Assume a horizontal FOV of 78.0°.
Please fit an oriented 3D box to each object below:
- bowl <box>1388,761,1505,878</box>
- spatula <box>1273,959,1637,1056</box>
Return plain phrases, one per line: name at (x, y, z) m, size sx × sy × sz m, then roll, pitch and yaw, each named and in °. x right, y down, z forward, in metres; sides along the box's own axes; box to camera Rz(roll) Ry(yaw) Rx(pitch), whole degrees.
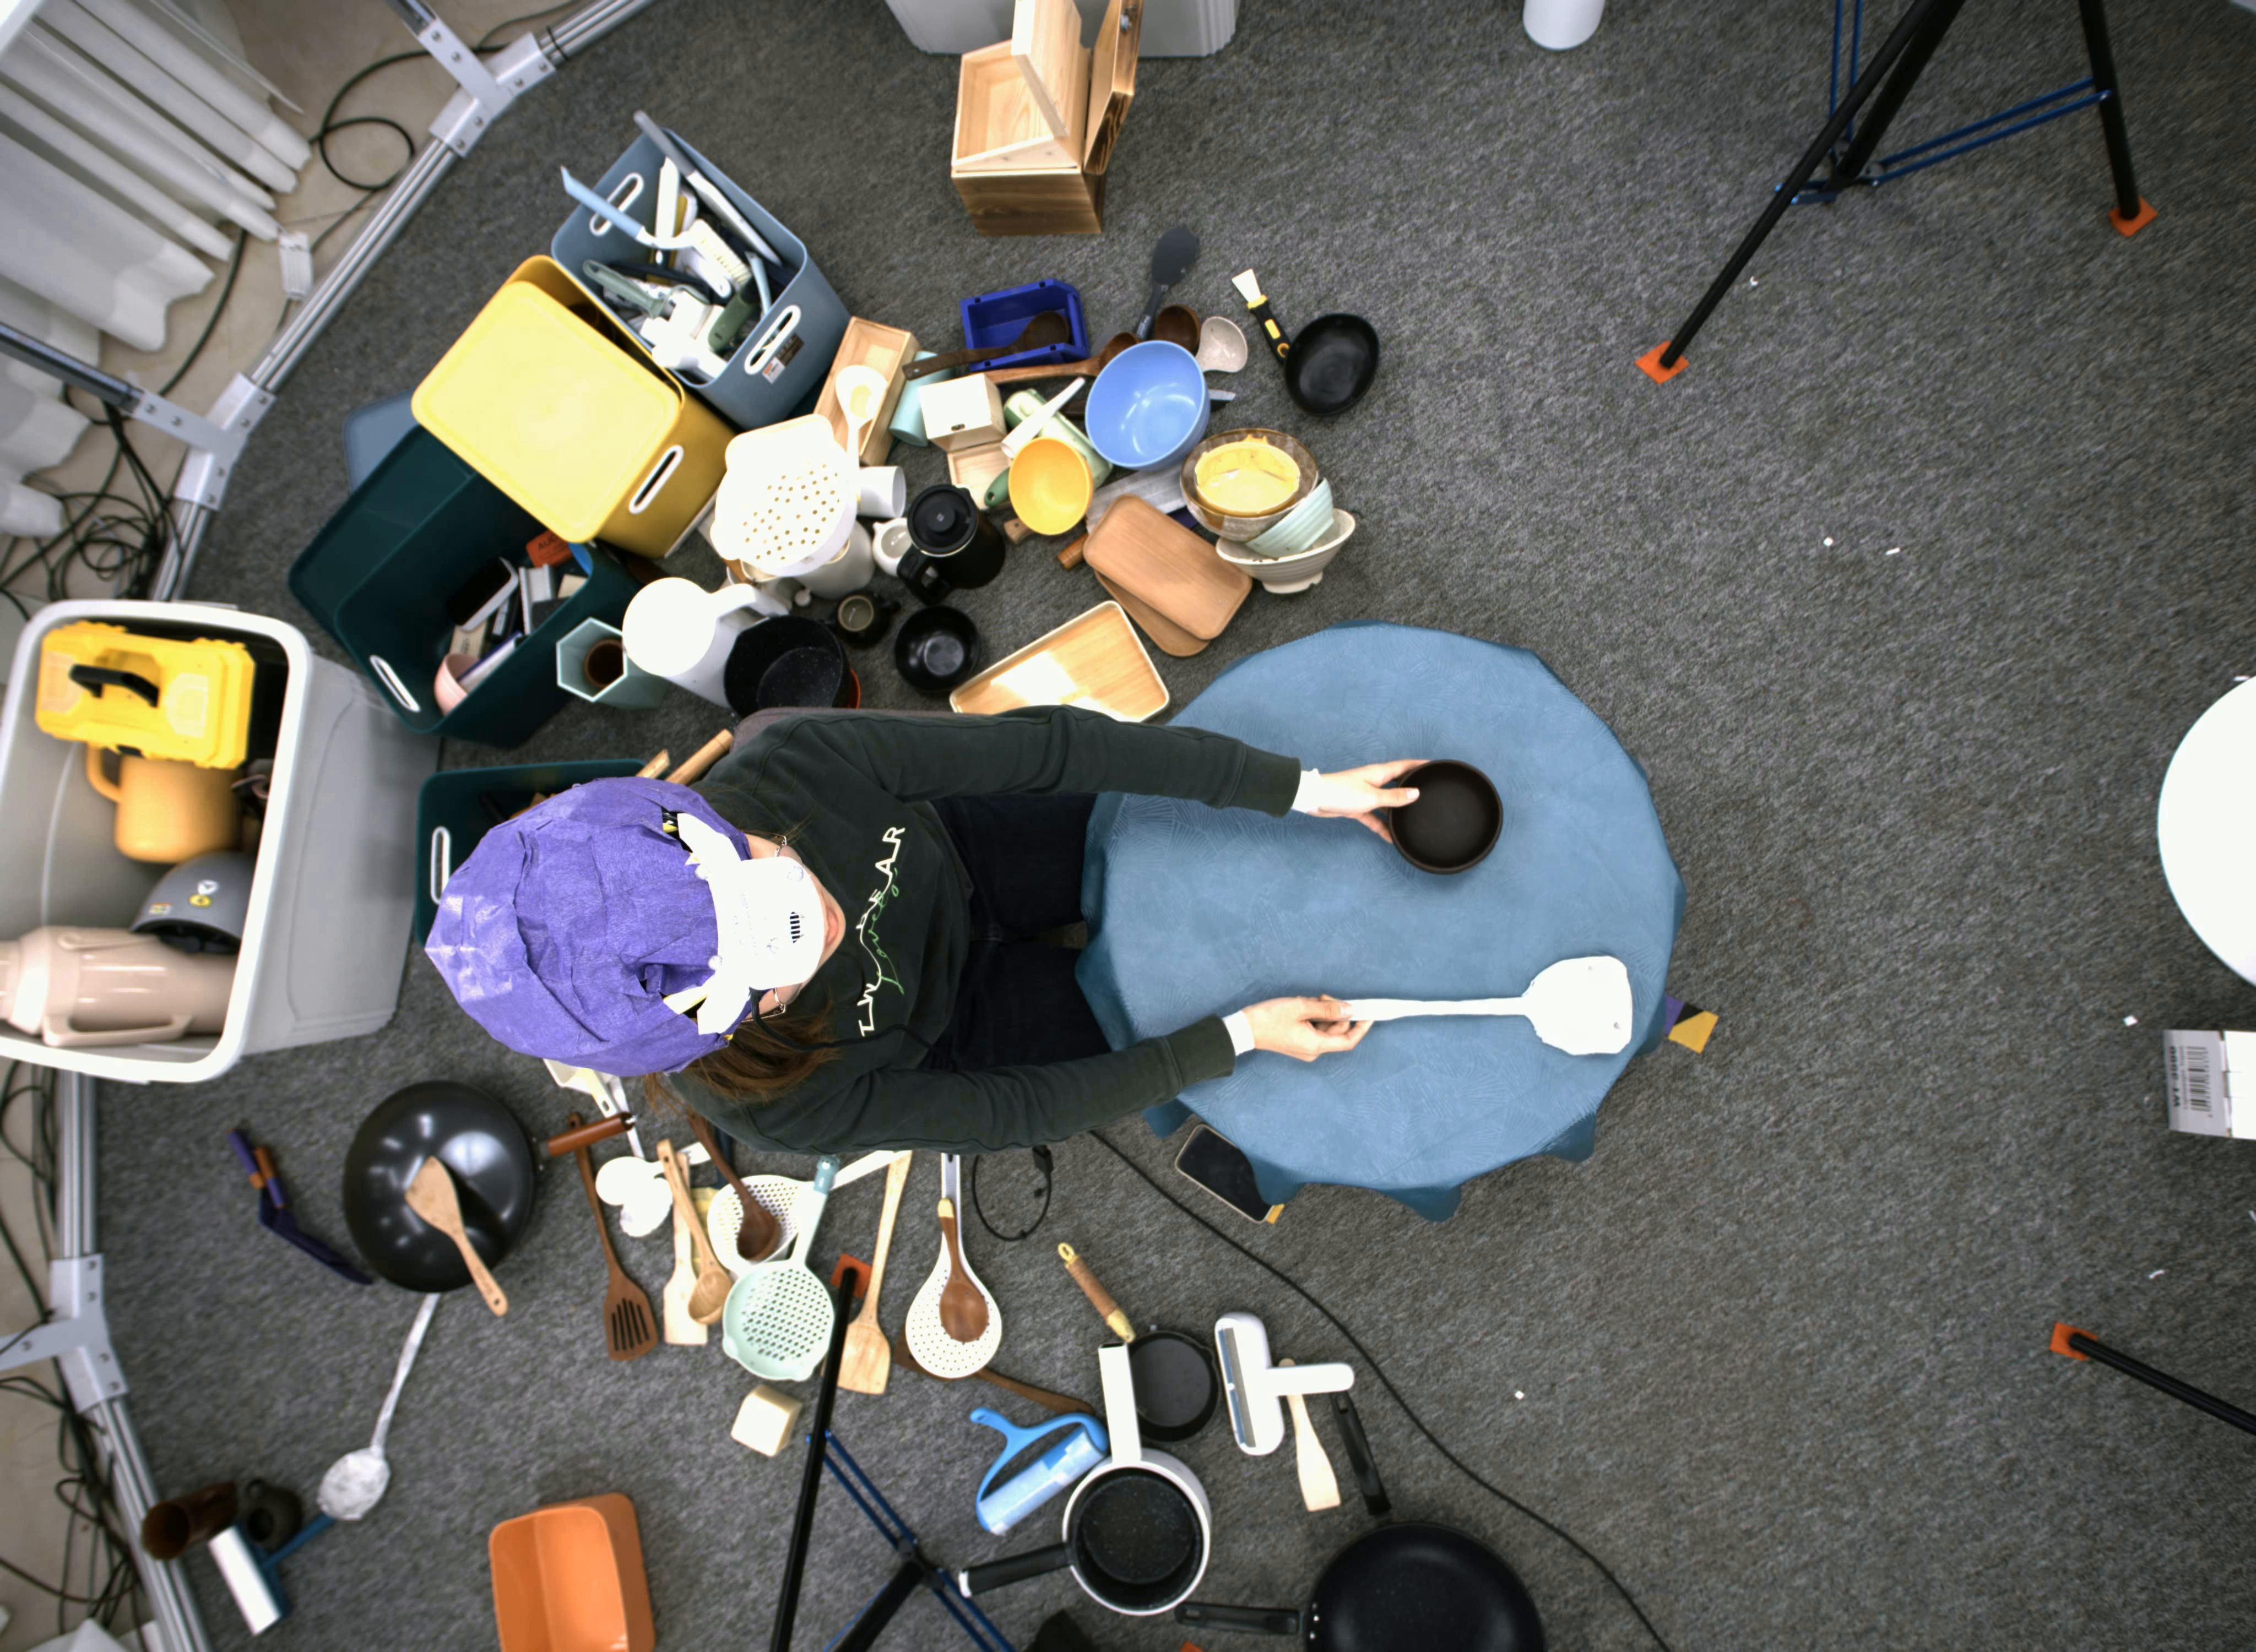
bowl at (0.329, -0.006, 1.420) m, size 0.118 × 0.070 × 0.117 m, roll -2°, pitch 82°, yaw 14°
spatula at (0.332, 0.183, 1.419) m, size 0.366 × 0.045 × 0.098 m, roll -1°, pitch 87°, yaw 6°
